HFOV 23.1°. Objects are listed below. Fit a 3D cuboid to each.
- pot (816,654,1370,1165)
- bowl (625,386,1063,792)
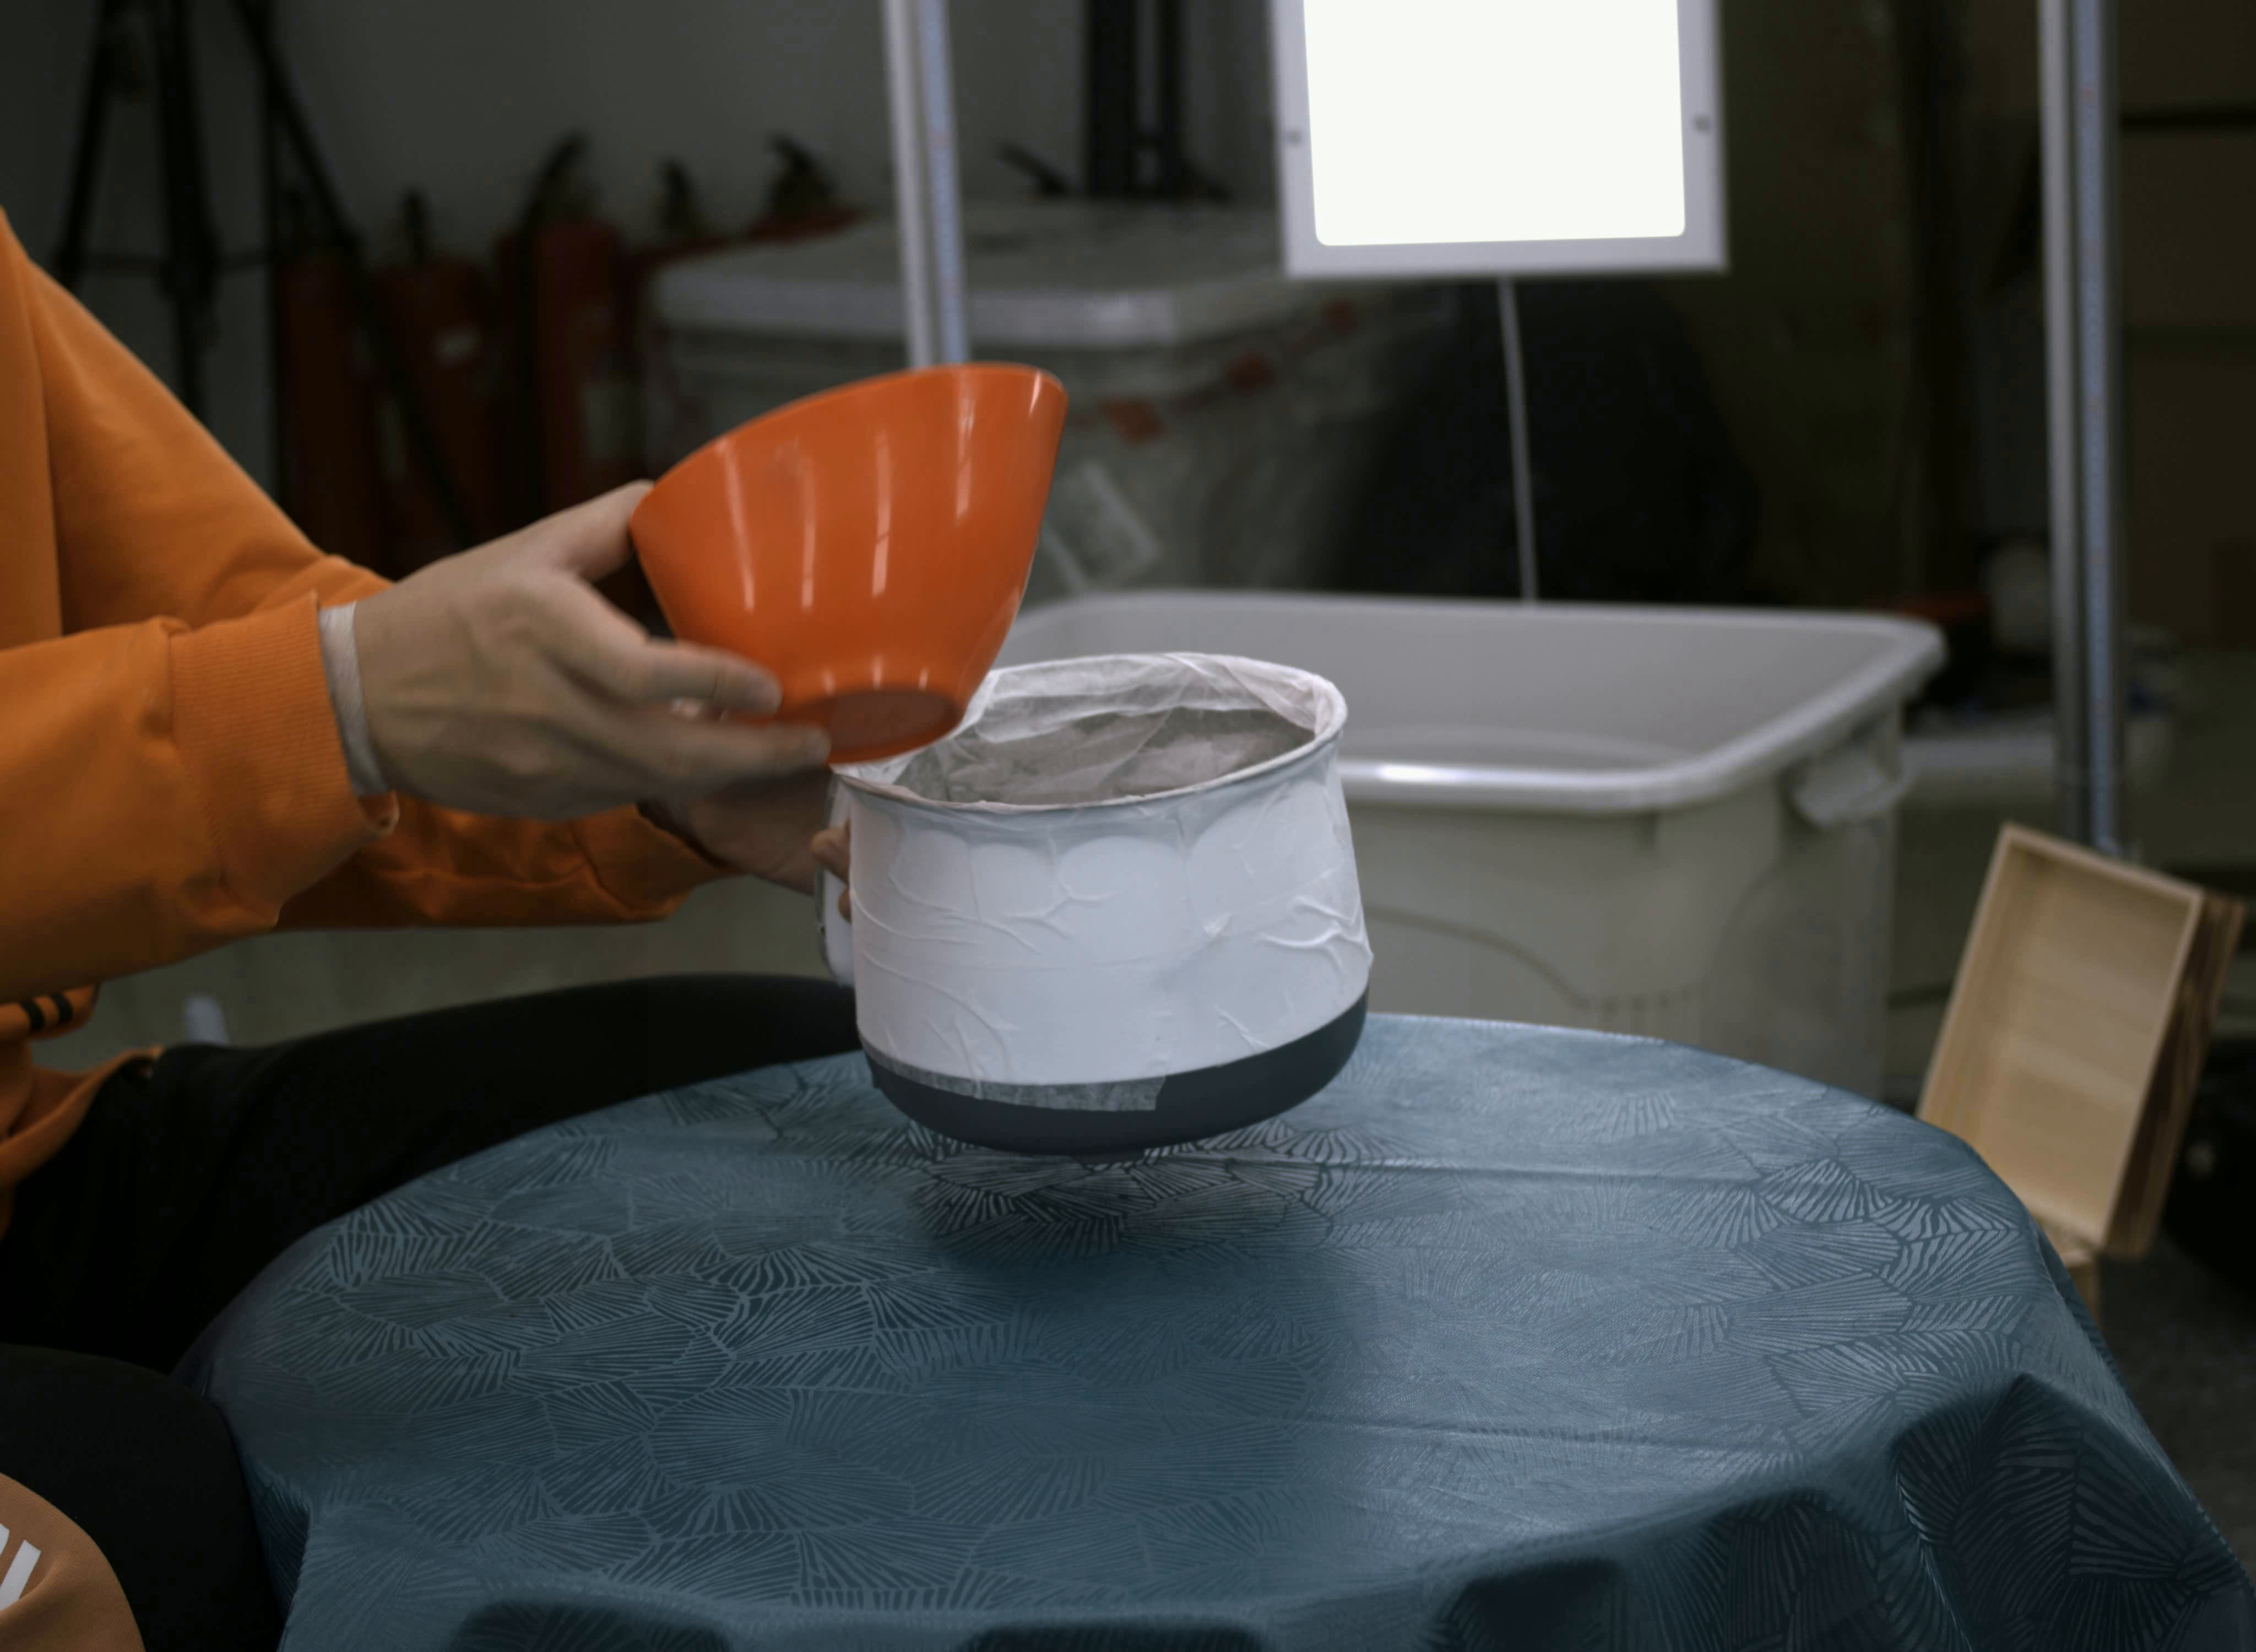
[{"bbox_3d":[-0.026,0.023,1.899,0.174,0.137,0.238,-20,22,-40],"label":"pot"},{"bbox_3d":[-0.083,-0.071,1.764,0.147,0.105,0.148,-9,-18,-5],"label":"bowl"}]
